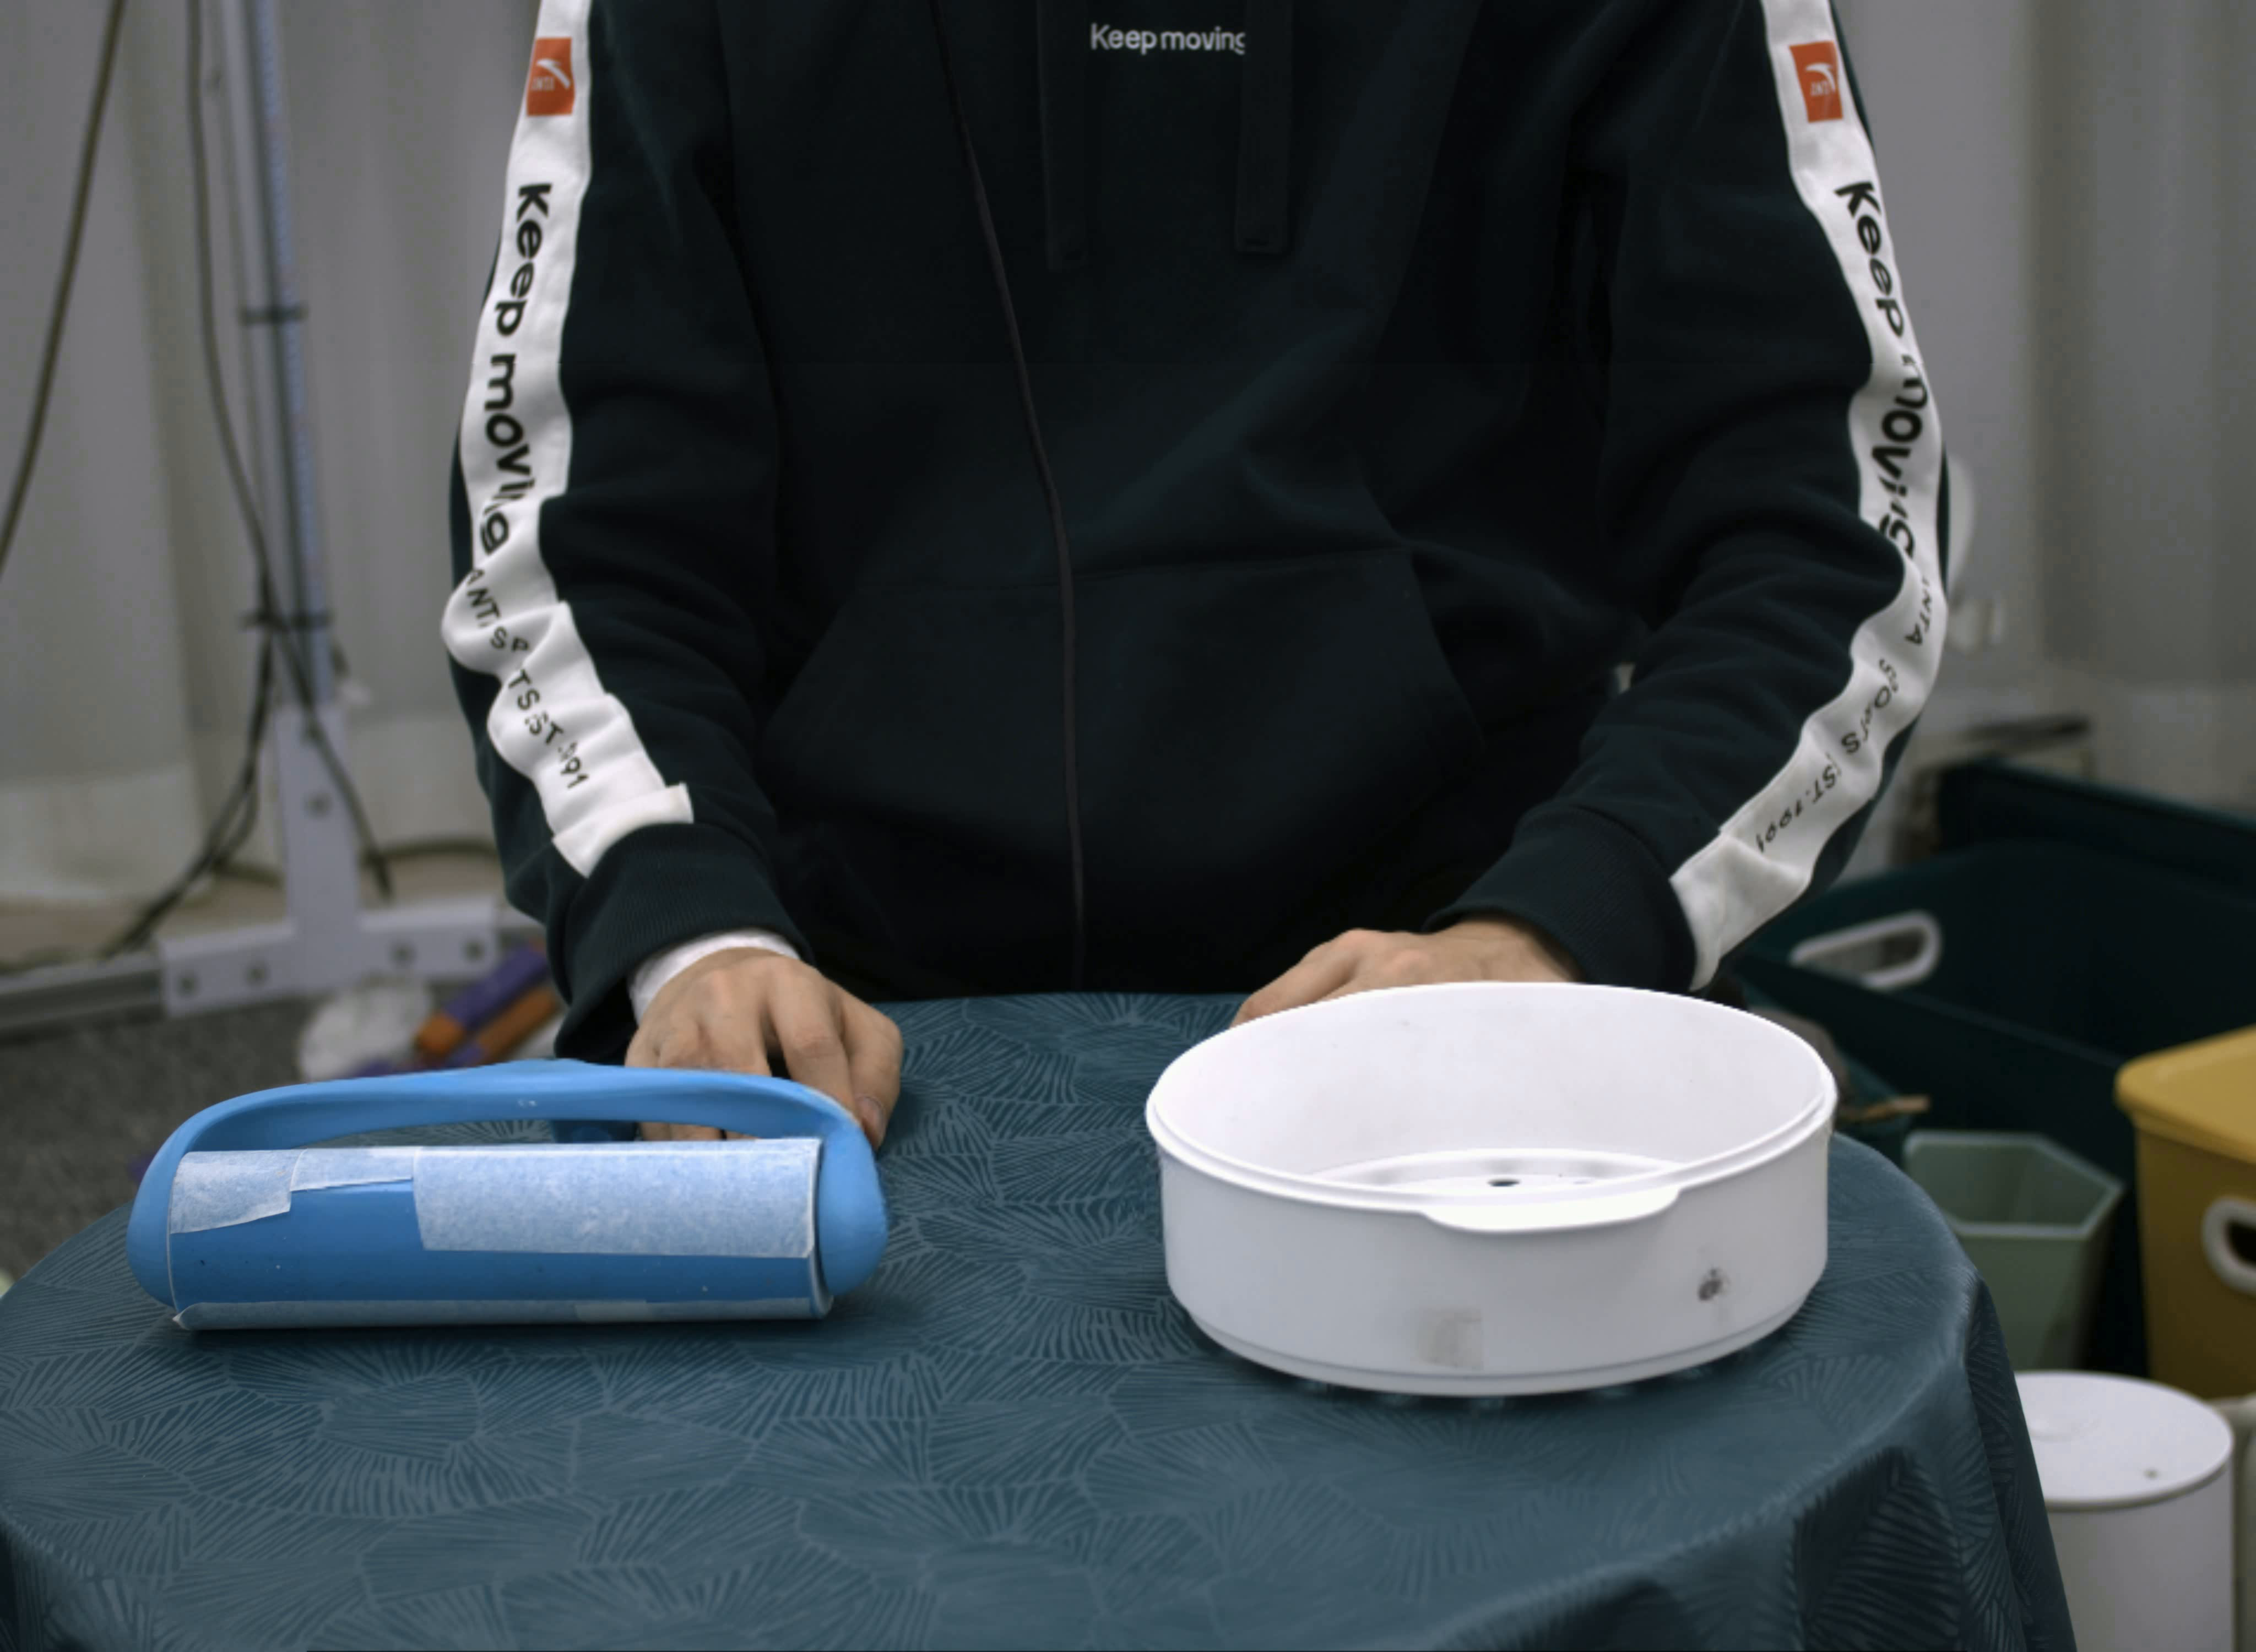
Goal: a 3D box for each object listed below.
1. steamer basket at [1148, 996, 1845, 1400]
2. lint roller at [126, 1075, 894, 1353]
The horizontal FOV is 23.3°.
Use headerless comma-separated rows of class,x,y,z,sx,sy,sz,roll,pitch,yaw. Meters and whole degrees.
steamer basket,0.107,0.107,1.589,0.201,0.069,0.232,-4,14,-5
lint roller,-0.182,0.107,1.676,0.228,0.067,0.181,-5,16,2
